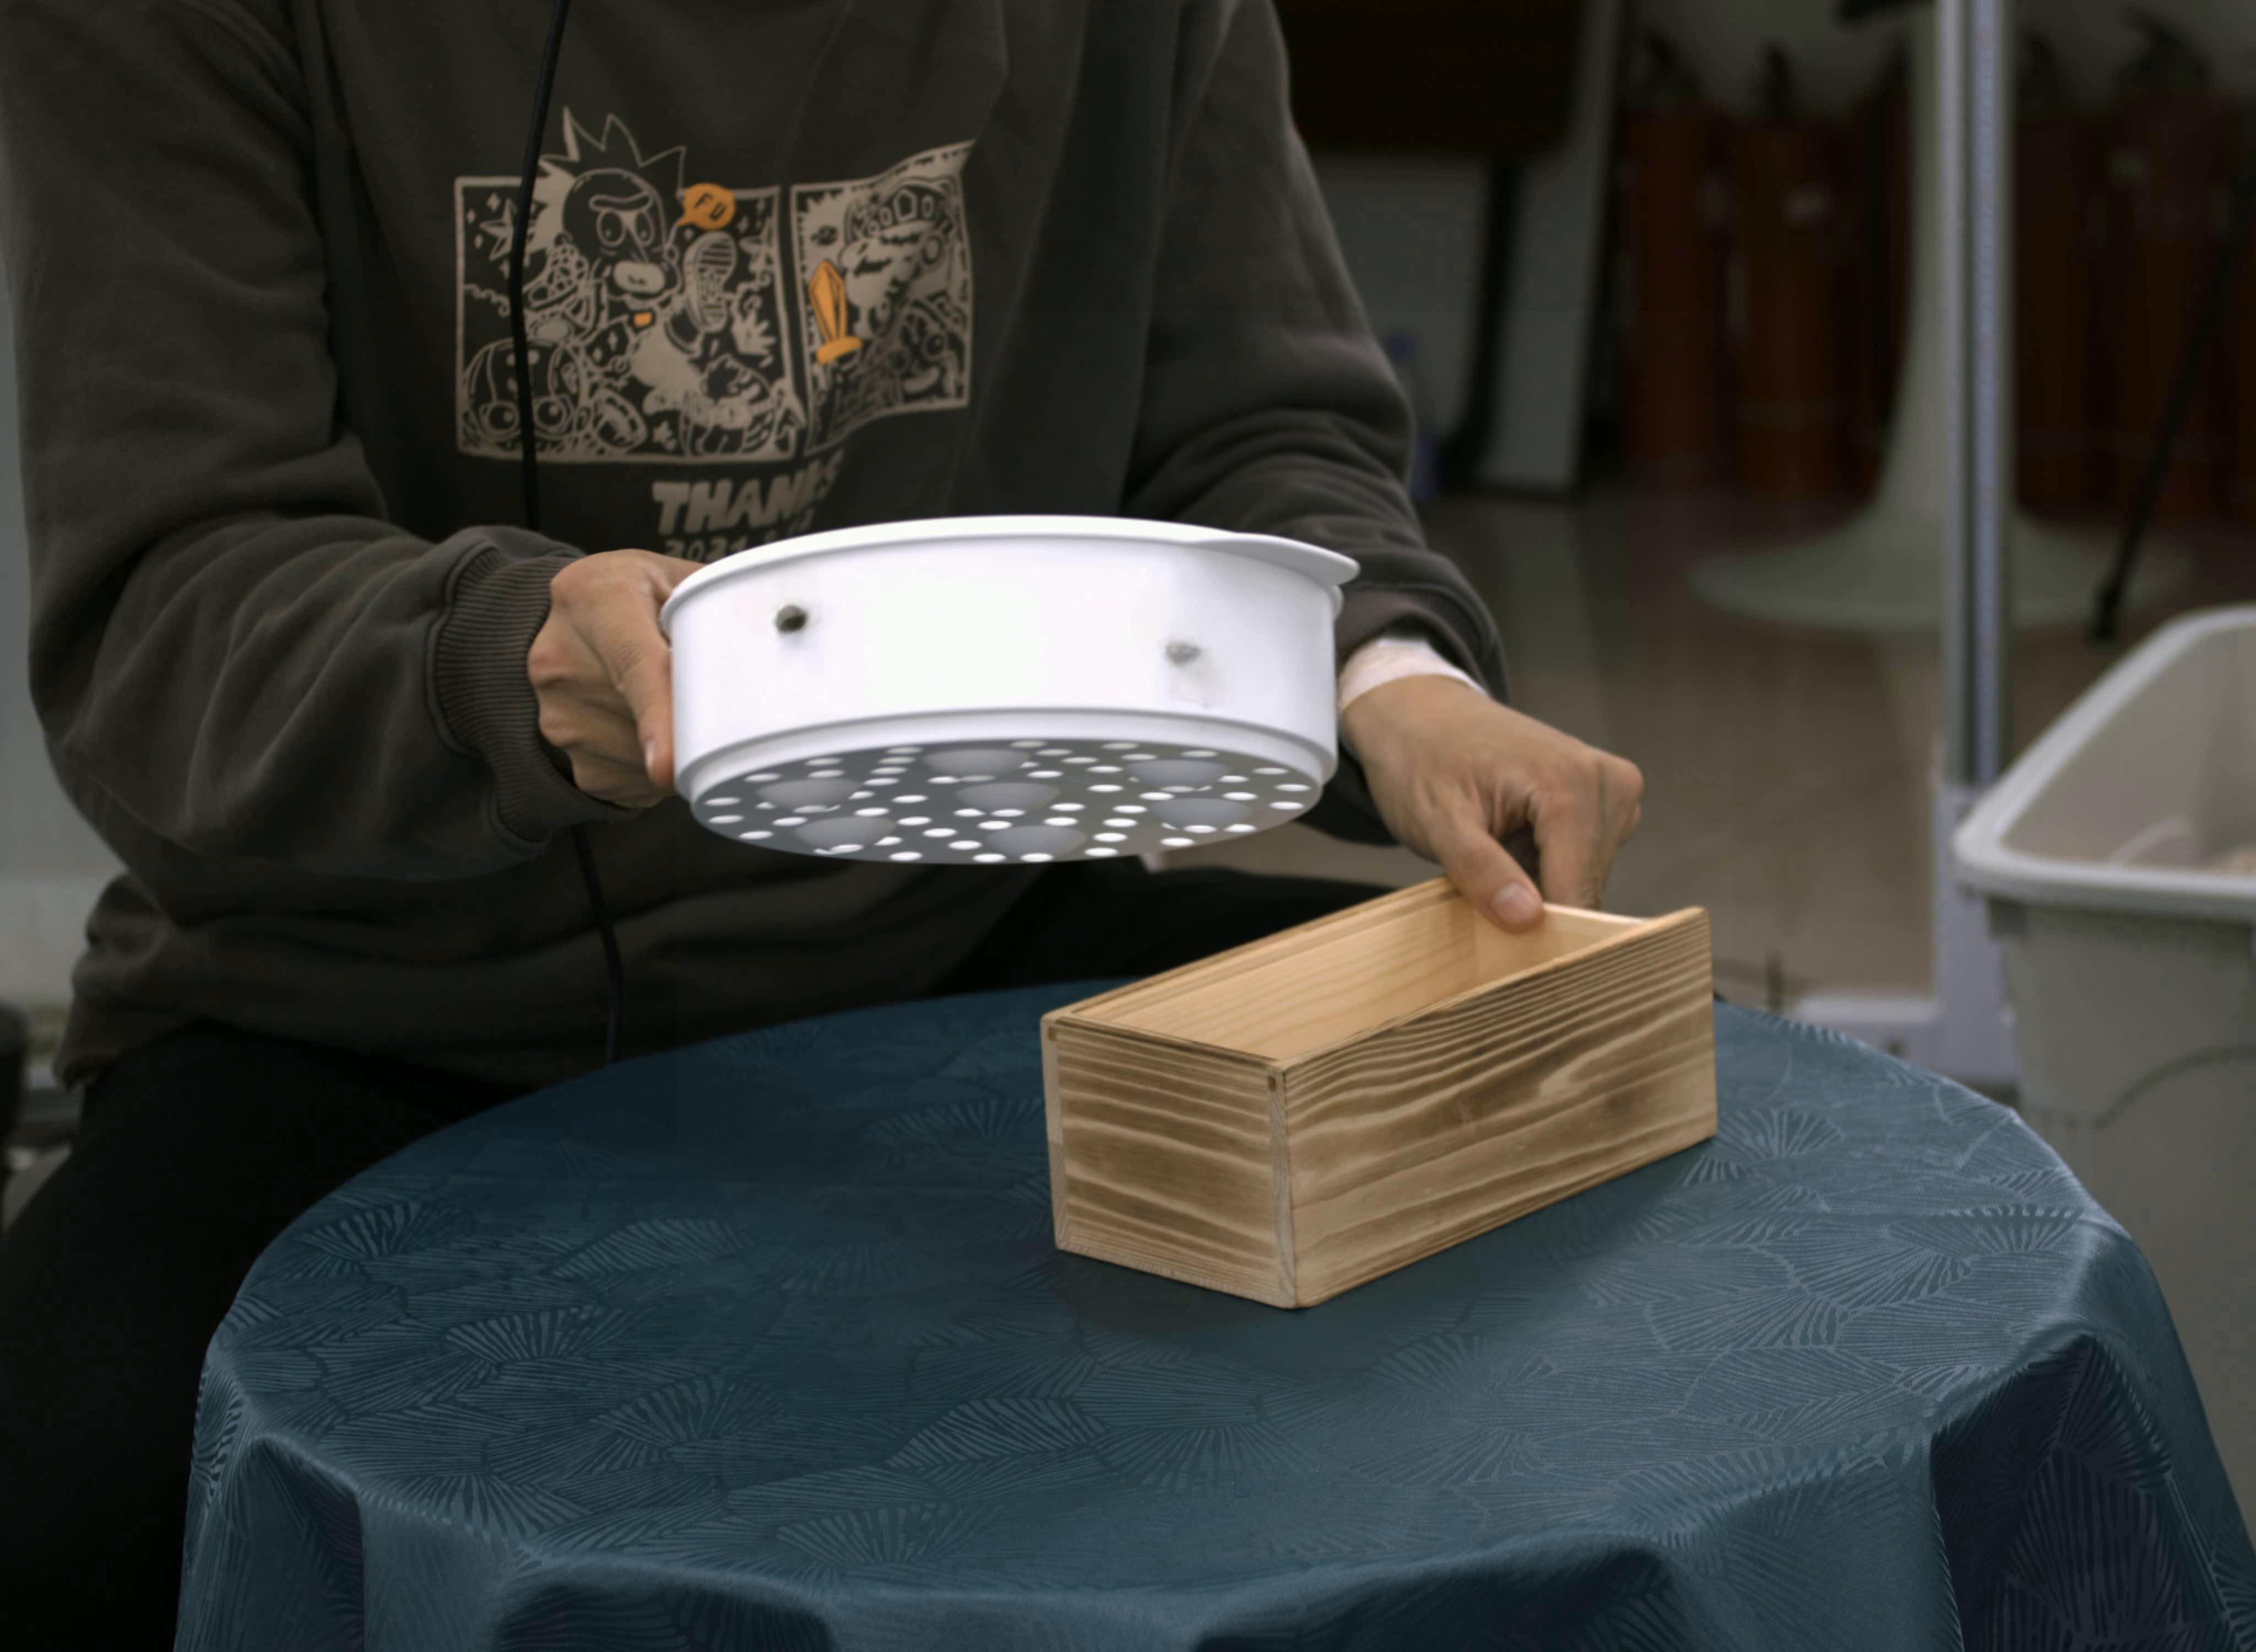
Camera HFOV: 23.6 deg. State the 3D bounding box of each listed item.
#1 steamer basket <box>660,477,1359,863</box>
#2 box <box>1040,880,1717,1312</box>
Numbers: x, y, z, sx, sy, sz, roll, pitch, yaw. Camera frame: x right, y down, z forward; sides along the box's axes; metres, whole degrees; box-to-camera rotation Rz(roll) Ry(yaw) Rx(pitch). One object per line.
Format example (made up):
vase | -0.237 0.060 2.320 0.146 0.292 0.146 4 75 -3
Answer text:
steamer basket | -0.035 -0.039 1.563 0.232 0.070 0.198 -12 -17 37
box | 0.084 0.083 1.739 0.108 0.081 0.207 8 18 44
